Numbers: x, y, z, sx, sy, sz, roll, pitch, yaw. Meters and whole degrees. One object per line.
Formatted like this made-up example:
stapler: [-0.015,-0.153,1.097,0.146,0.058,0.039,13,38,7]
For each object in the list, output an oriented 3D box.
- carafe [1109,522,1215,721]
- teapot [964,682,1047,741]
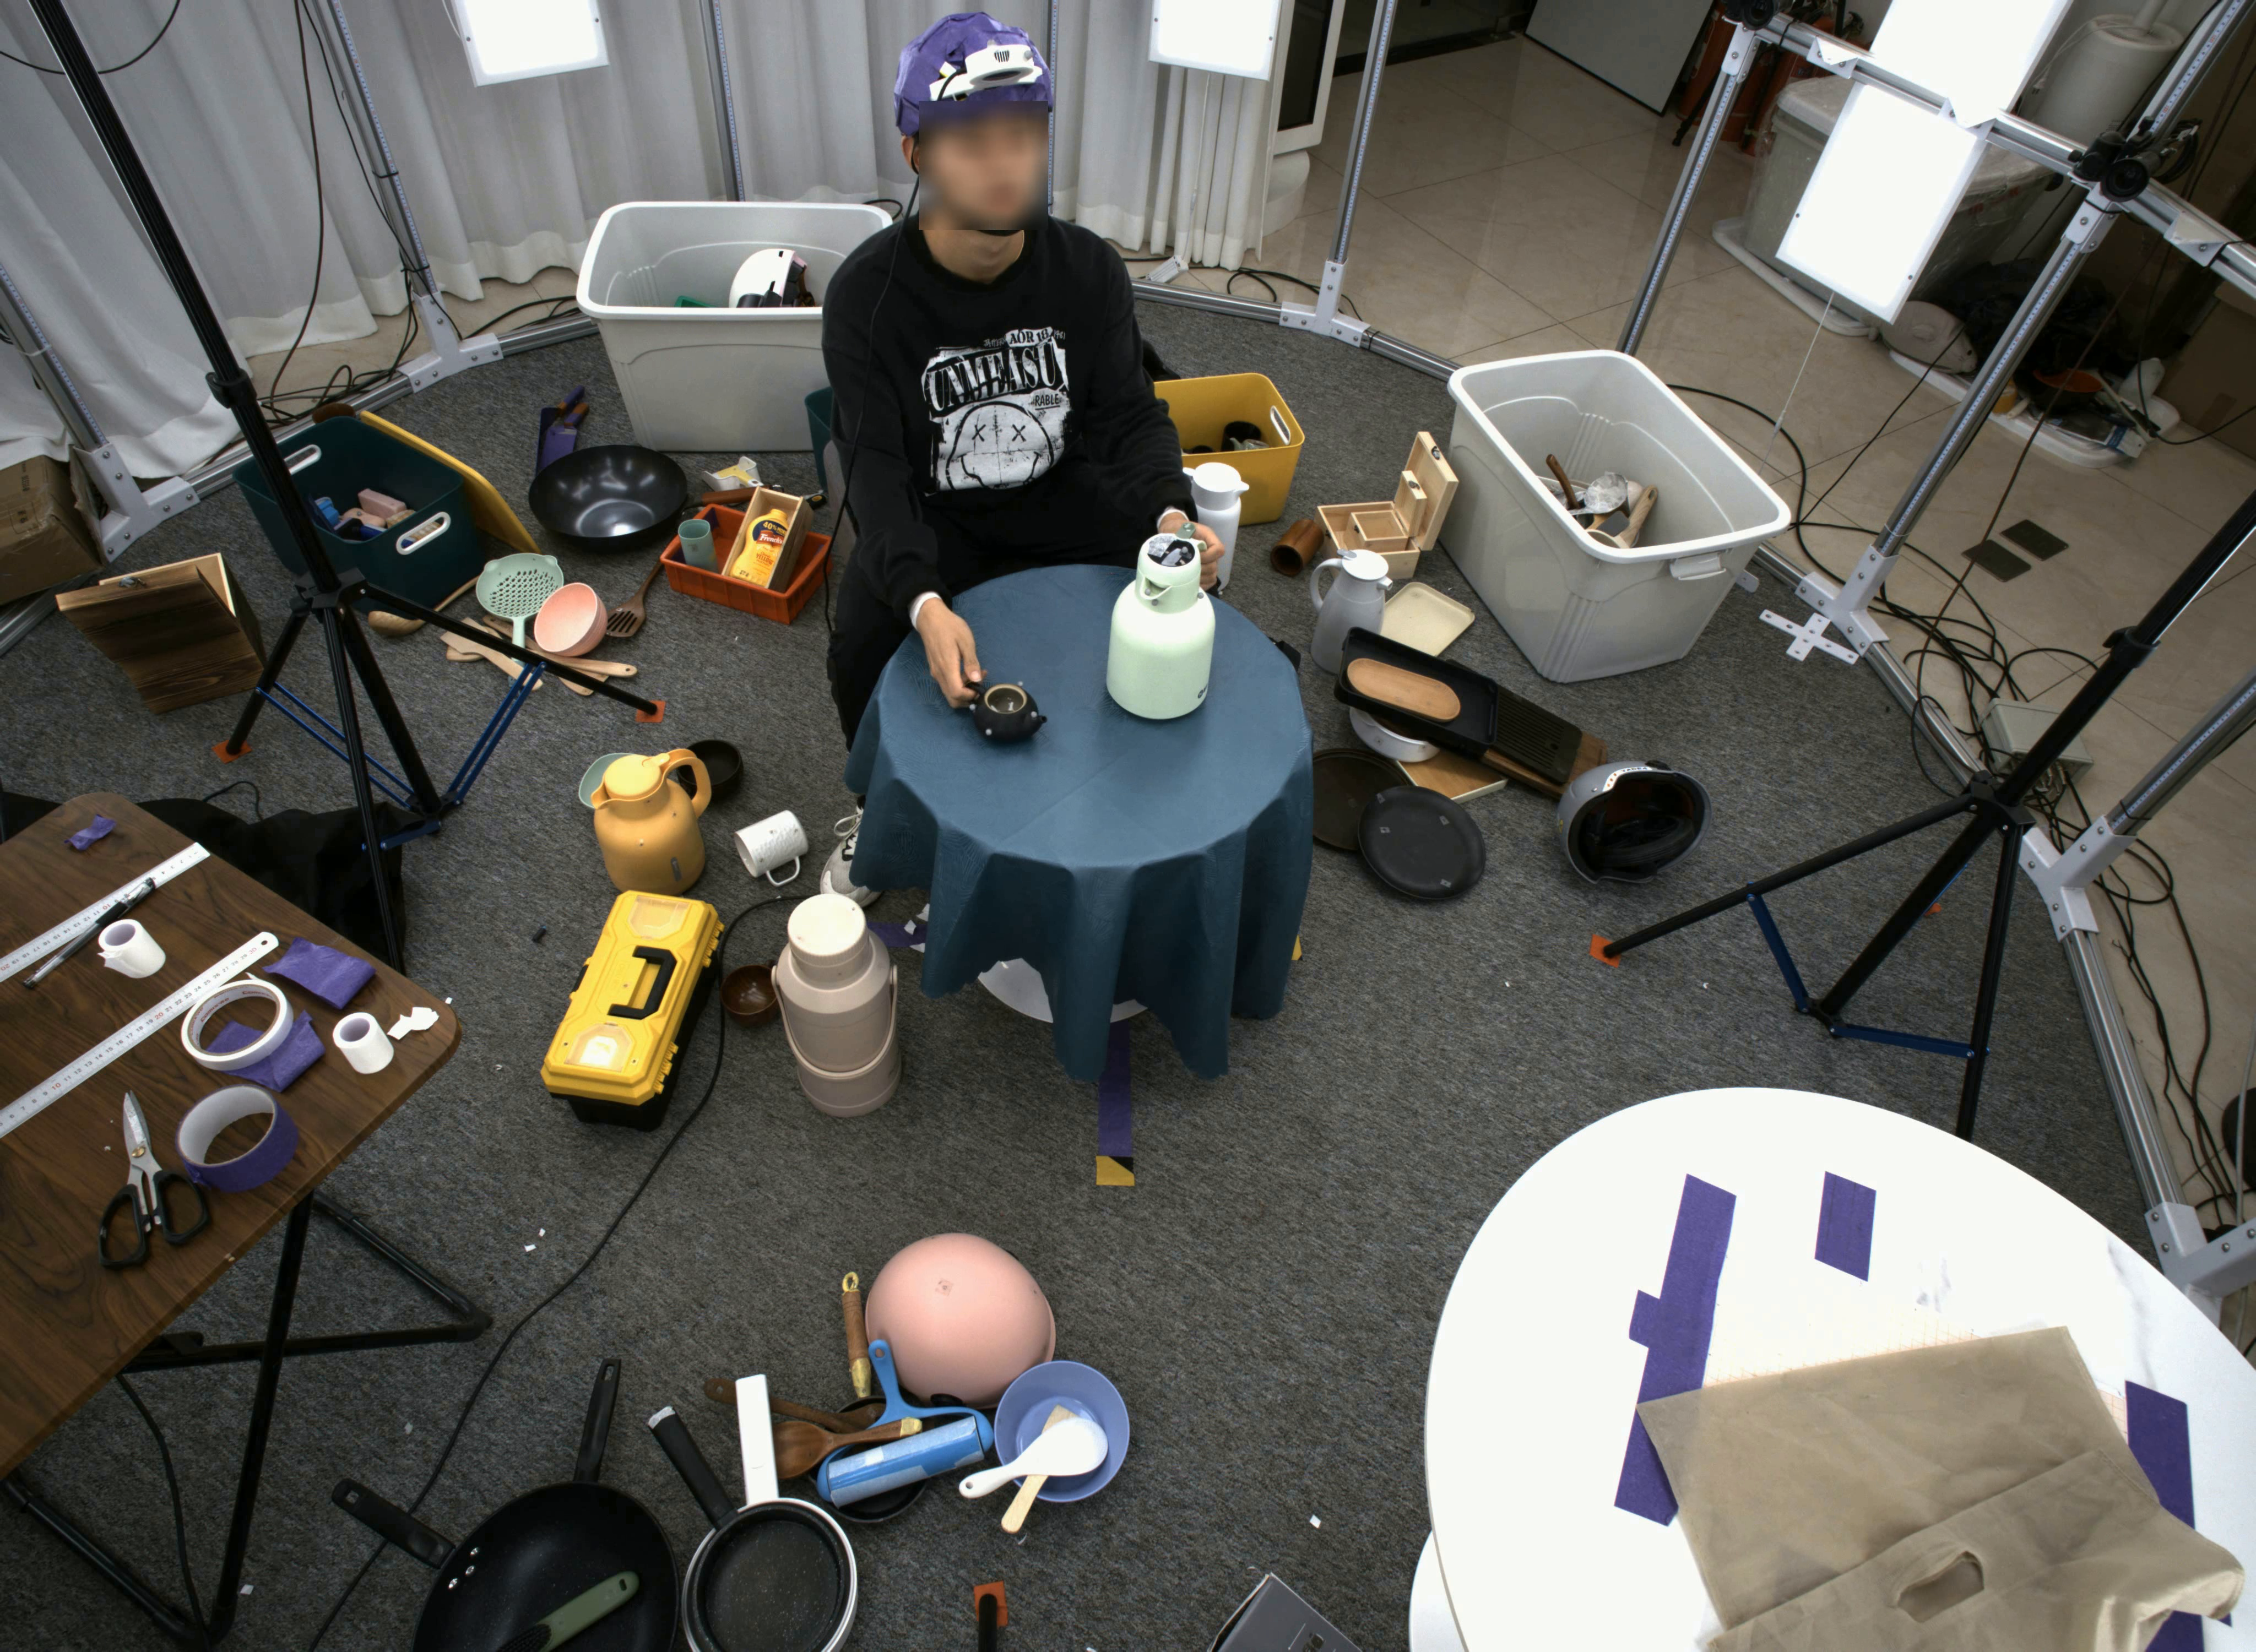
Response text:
carafe: [0.055,-0.285,1.758,0.145,0.250,0.190,20,48,15]
teapot: [-0.168,-0.156,1.760,0.134,0.052,0.092,26,51,17]
